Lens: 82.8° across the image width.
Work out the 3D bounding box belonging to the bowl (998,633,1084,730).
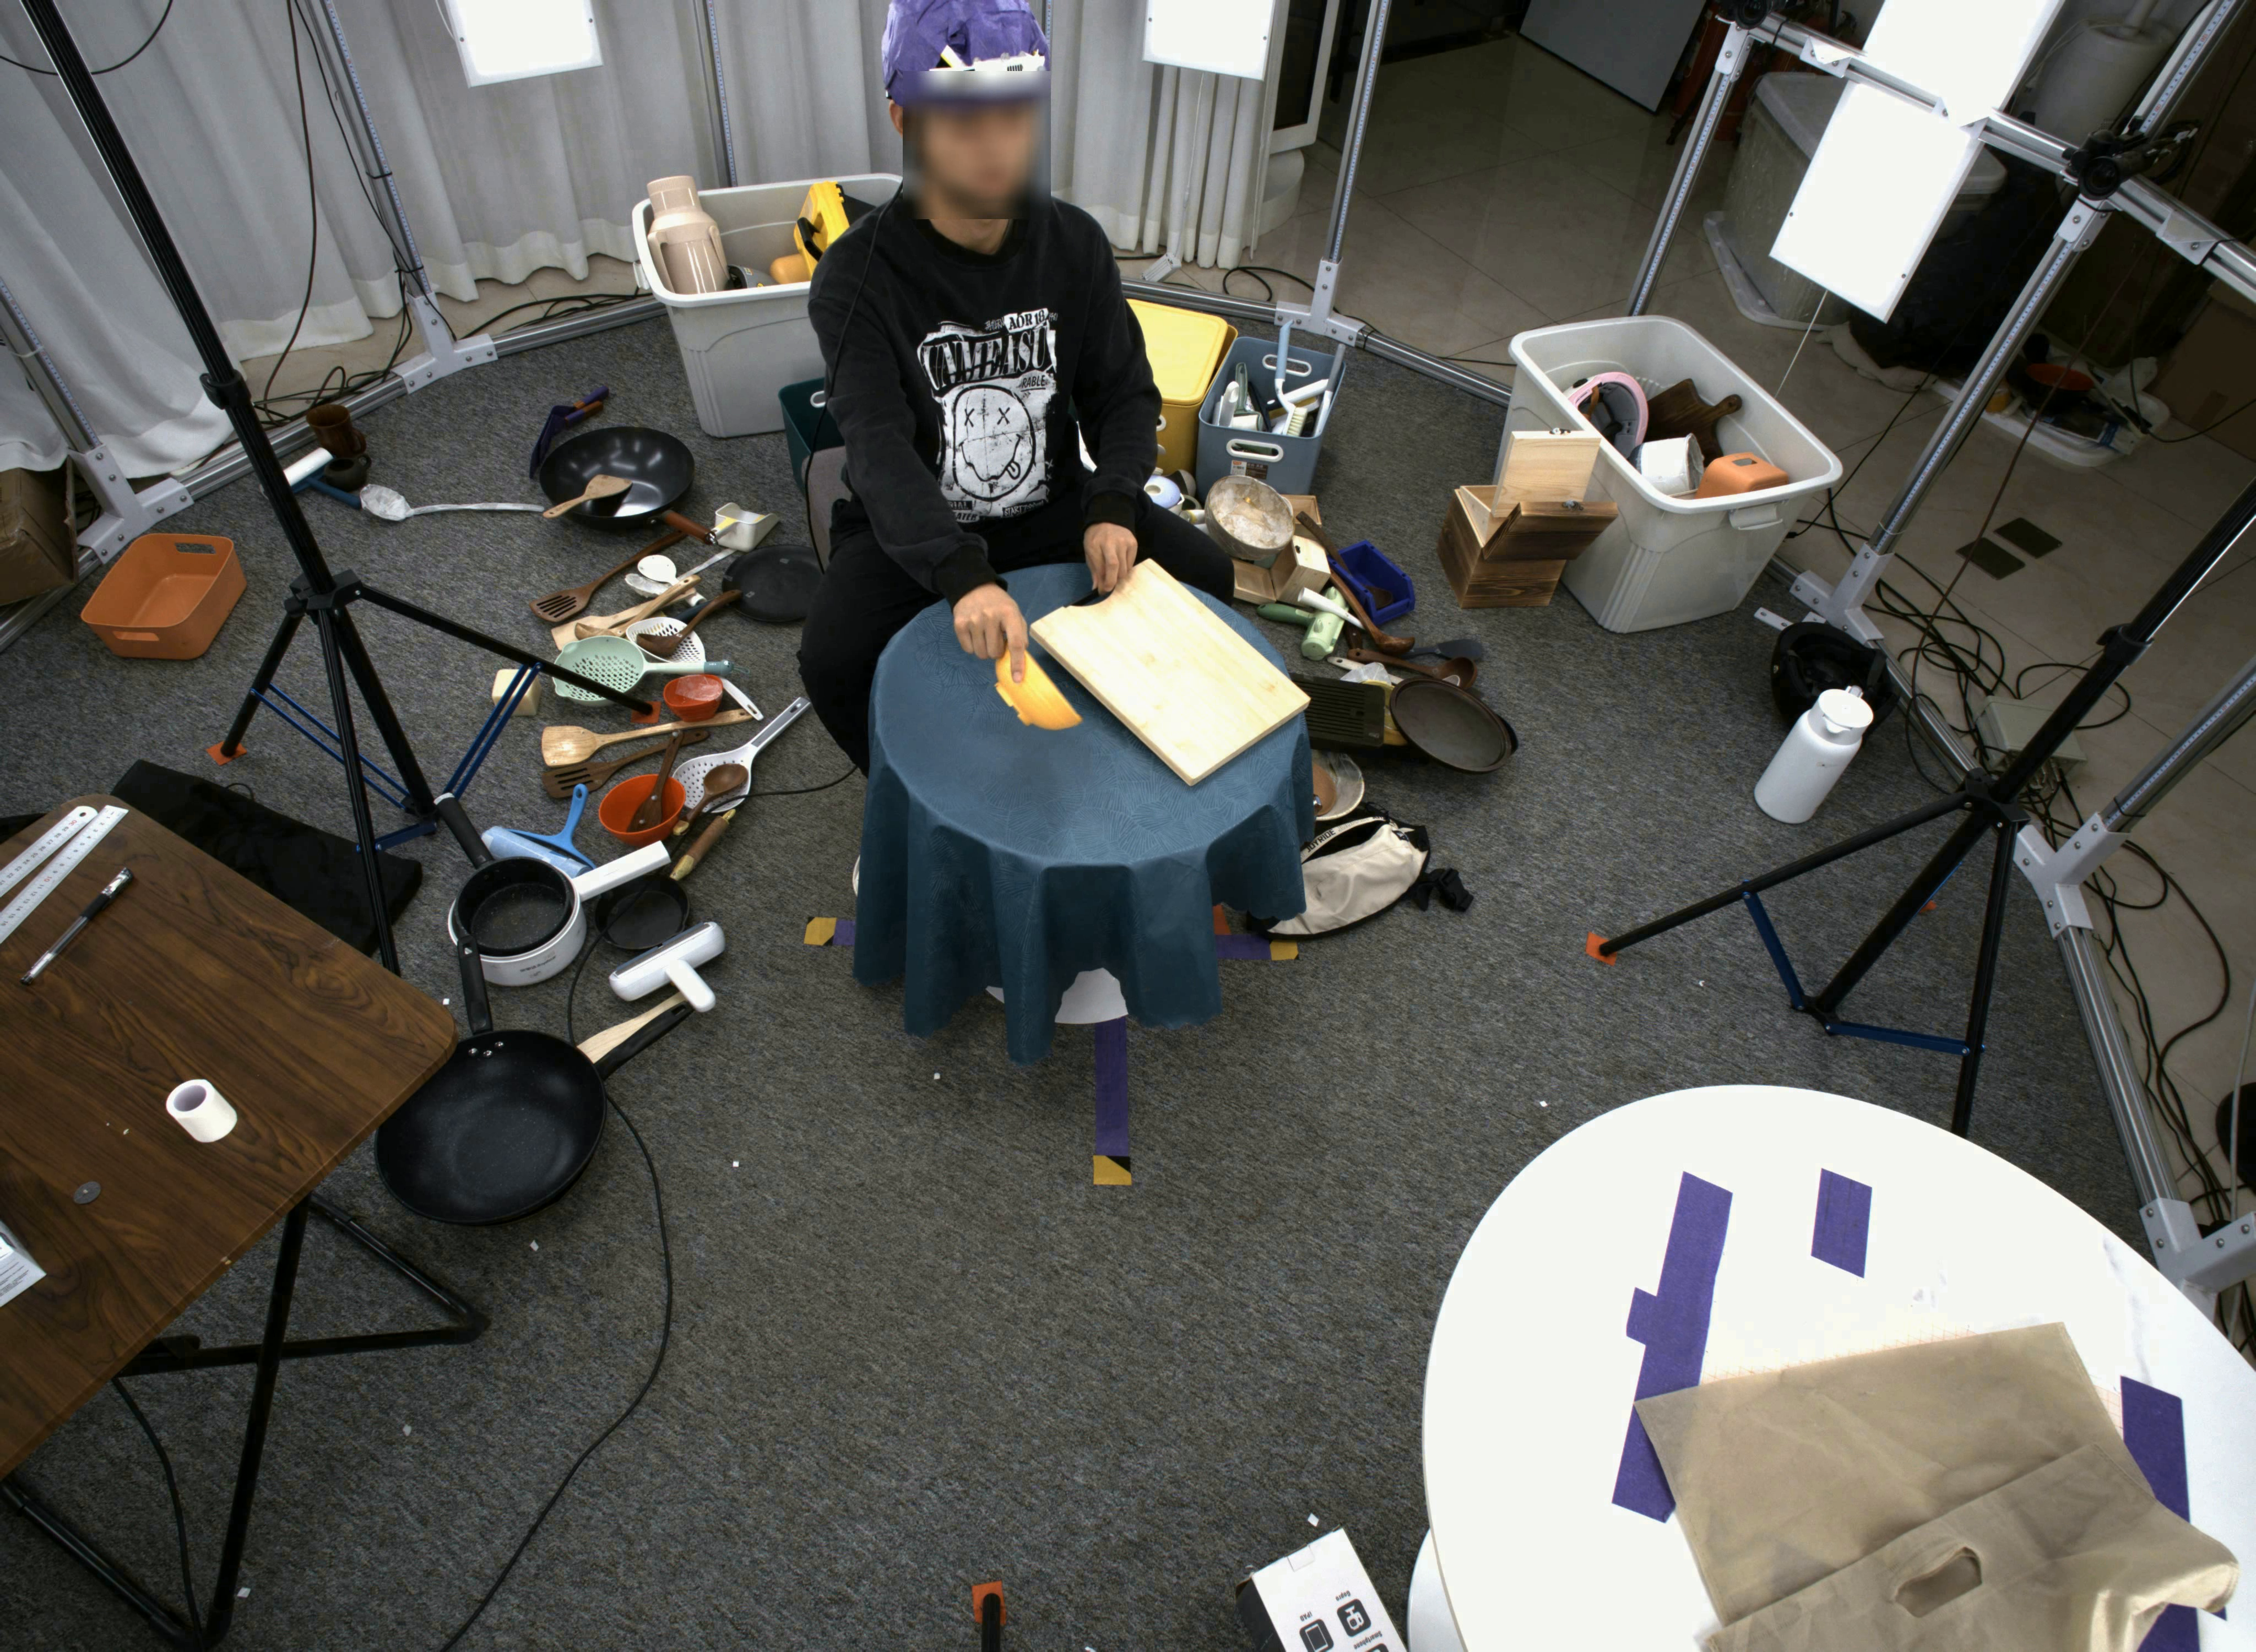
[{"bbox_3d":[-0.123,-0.172,1.642,0.060,0.142,0.148,-38,57,3],"label":"bowl"}]

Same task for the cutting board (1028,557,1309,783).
[{"bbox_3d":[0.057,-0.233,1.853,0.253,0.023,0.353,-34,66,-29],"label":"cutting board"}]
